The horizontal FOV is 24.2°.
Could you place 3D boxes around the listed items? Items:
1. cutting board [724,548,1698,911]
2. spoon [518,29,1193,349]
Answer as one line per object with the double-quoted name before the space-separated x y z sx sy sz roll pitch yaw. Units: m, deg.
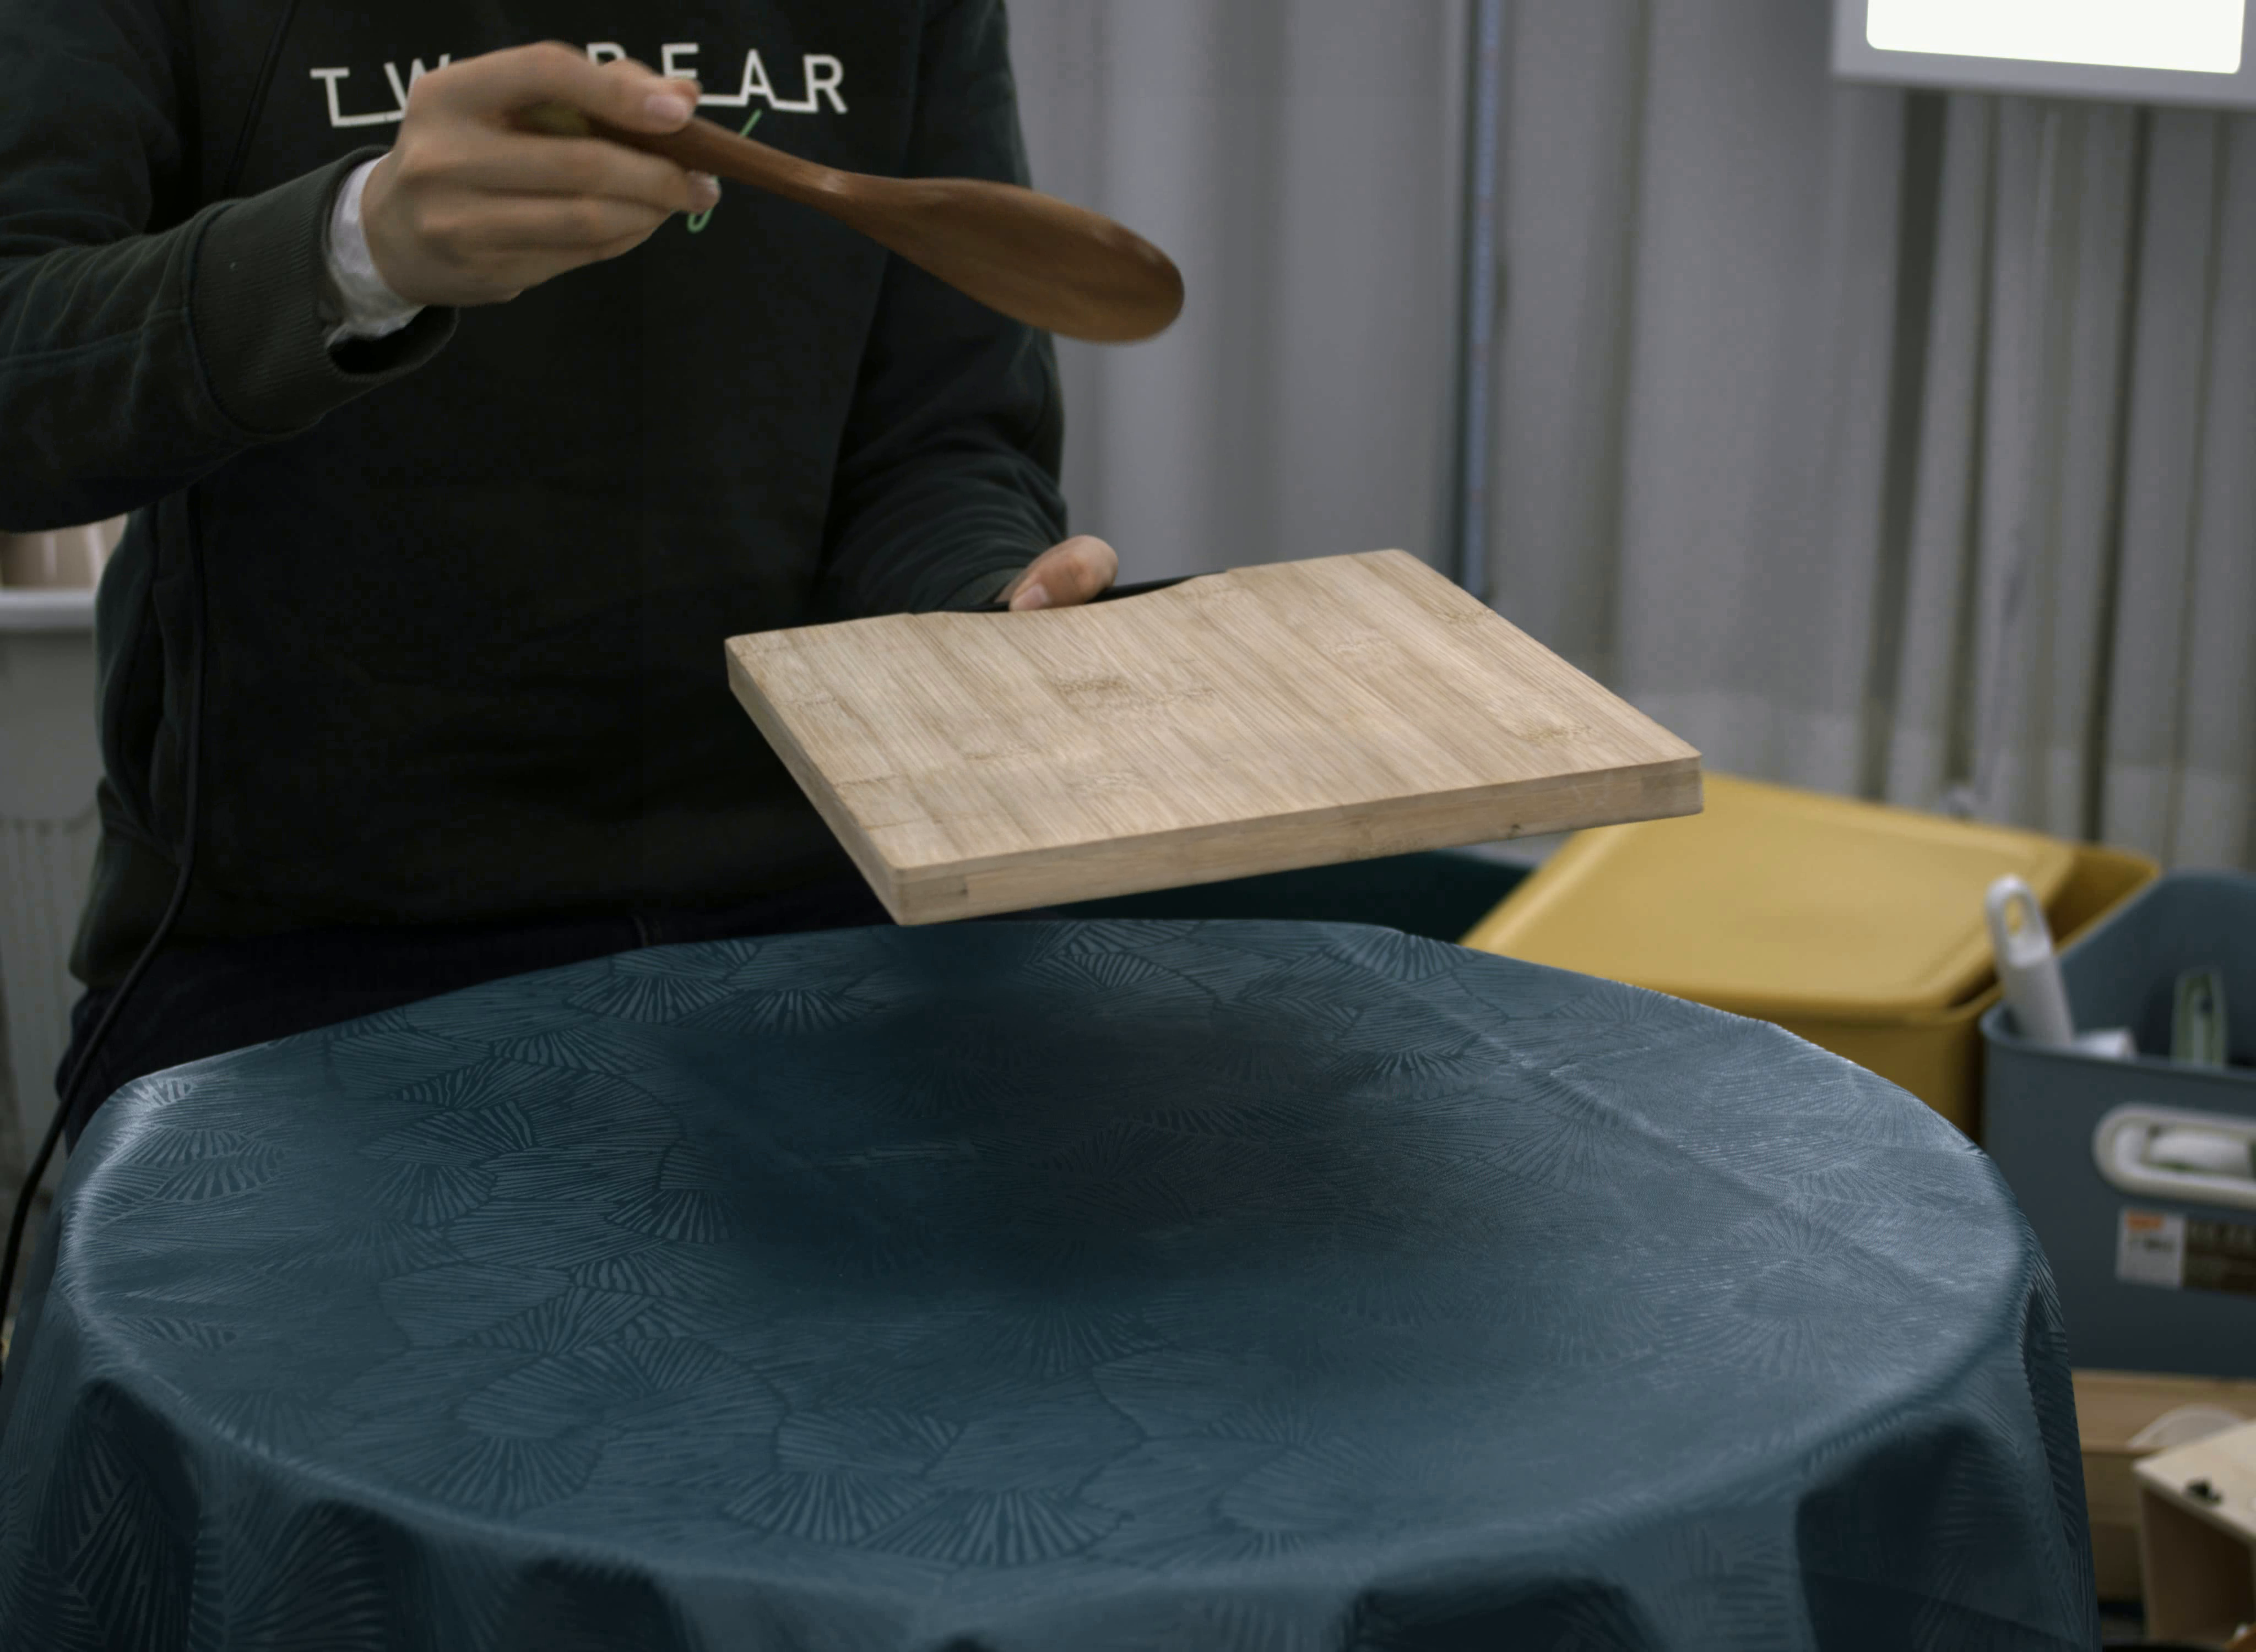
"cutting board" 0.014 -0.035 1.665 0.251 0.024 0.345 -7 15 -12
"spoon" -0.082 -0.188 1.570 0.215 0.017 0.076 23 -16 0
